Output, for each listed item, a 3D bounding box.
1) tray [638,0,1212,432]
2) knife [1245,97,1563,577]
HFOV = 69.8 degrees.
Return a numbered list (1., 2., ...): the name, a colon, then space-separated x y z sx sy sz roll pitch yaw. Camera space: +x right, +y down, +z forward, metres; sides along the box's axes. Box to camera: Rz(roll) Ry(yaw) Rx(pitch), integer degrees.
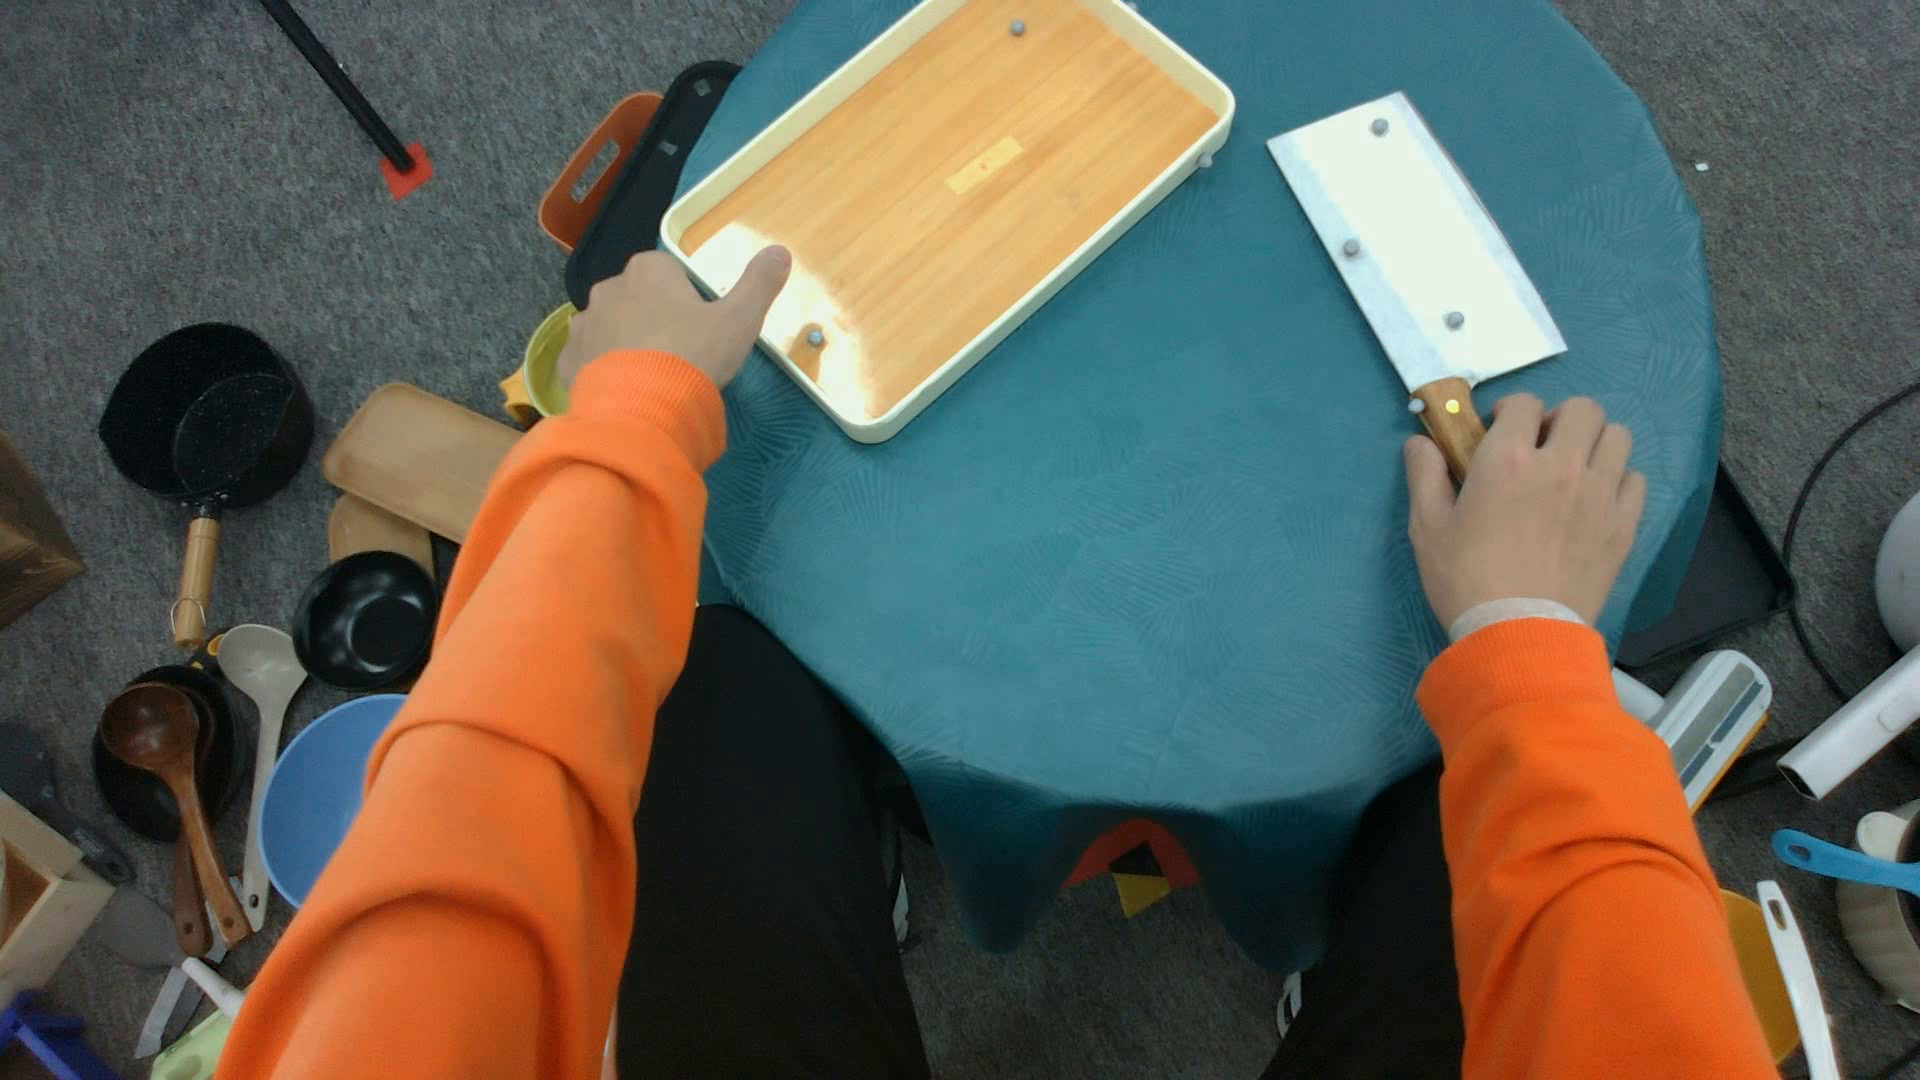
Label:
1. tray: -0.019 -0.217 0.804 0.301 0.027 0.192 -42 74 -11
2. knife: 0.262 -0.125 0.761 0.093 0.021 0.306 -21 68 -6
